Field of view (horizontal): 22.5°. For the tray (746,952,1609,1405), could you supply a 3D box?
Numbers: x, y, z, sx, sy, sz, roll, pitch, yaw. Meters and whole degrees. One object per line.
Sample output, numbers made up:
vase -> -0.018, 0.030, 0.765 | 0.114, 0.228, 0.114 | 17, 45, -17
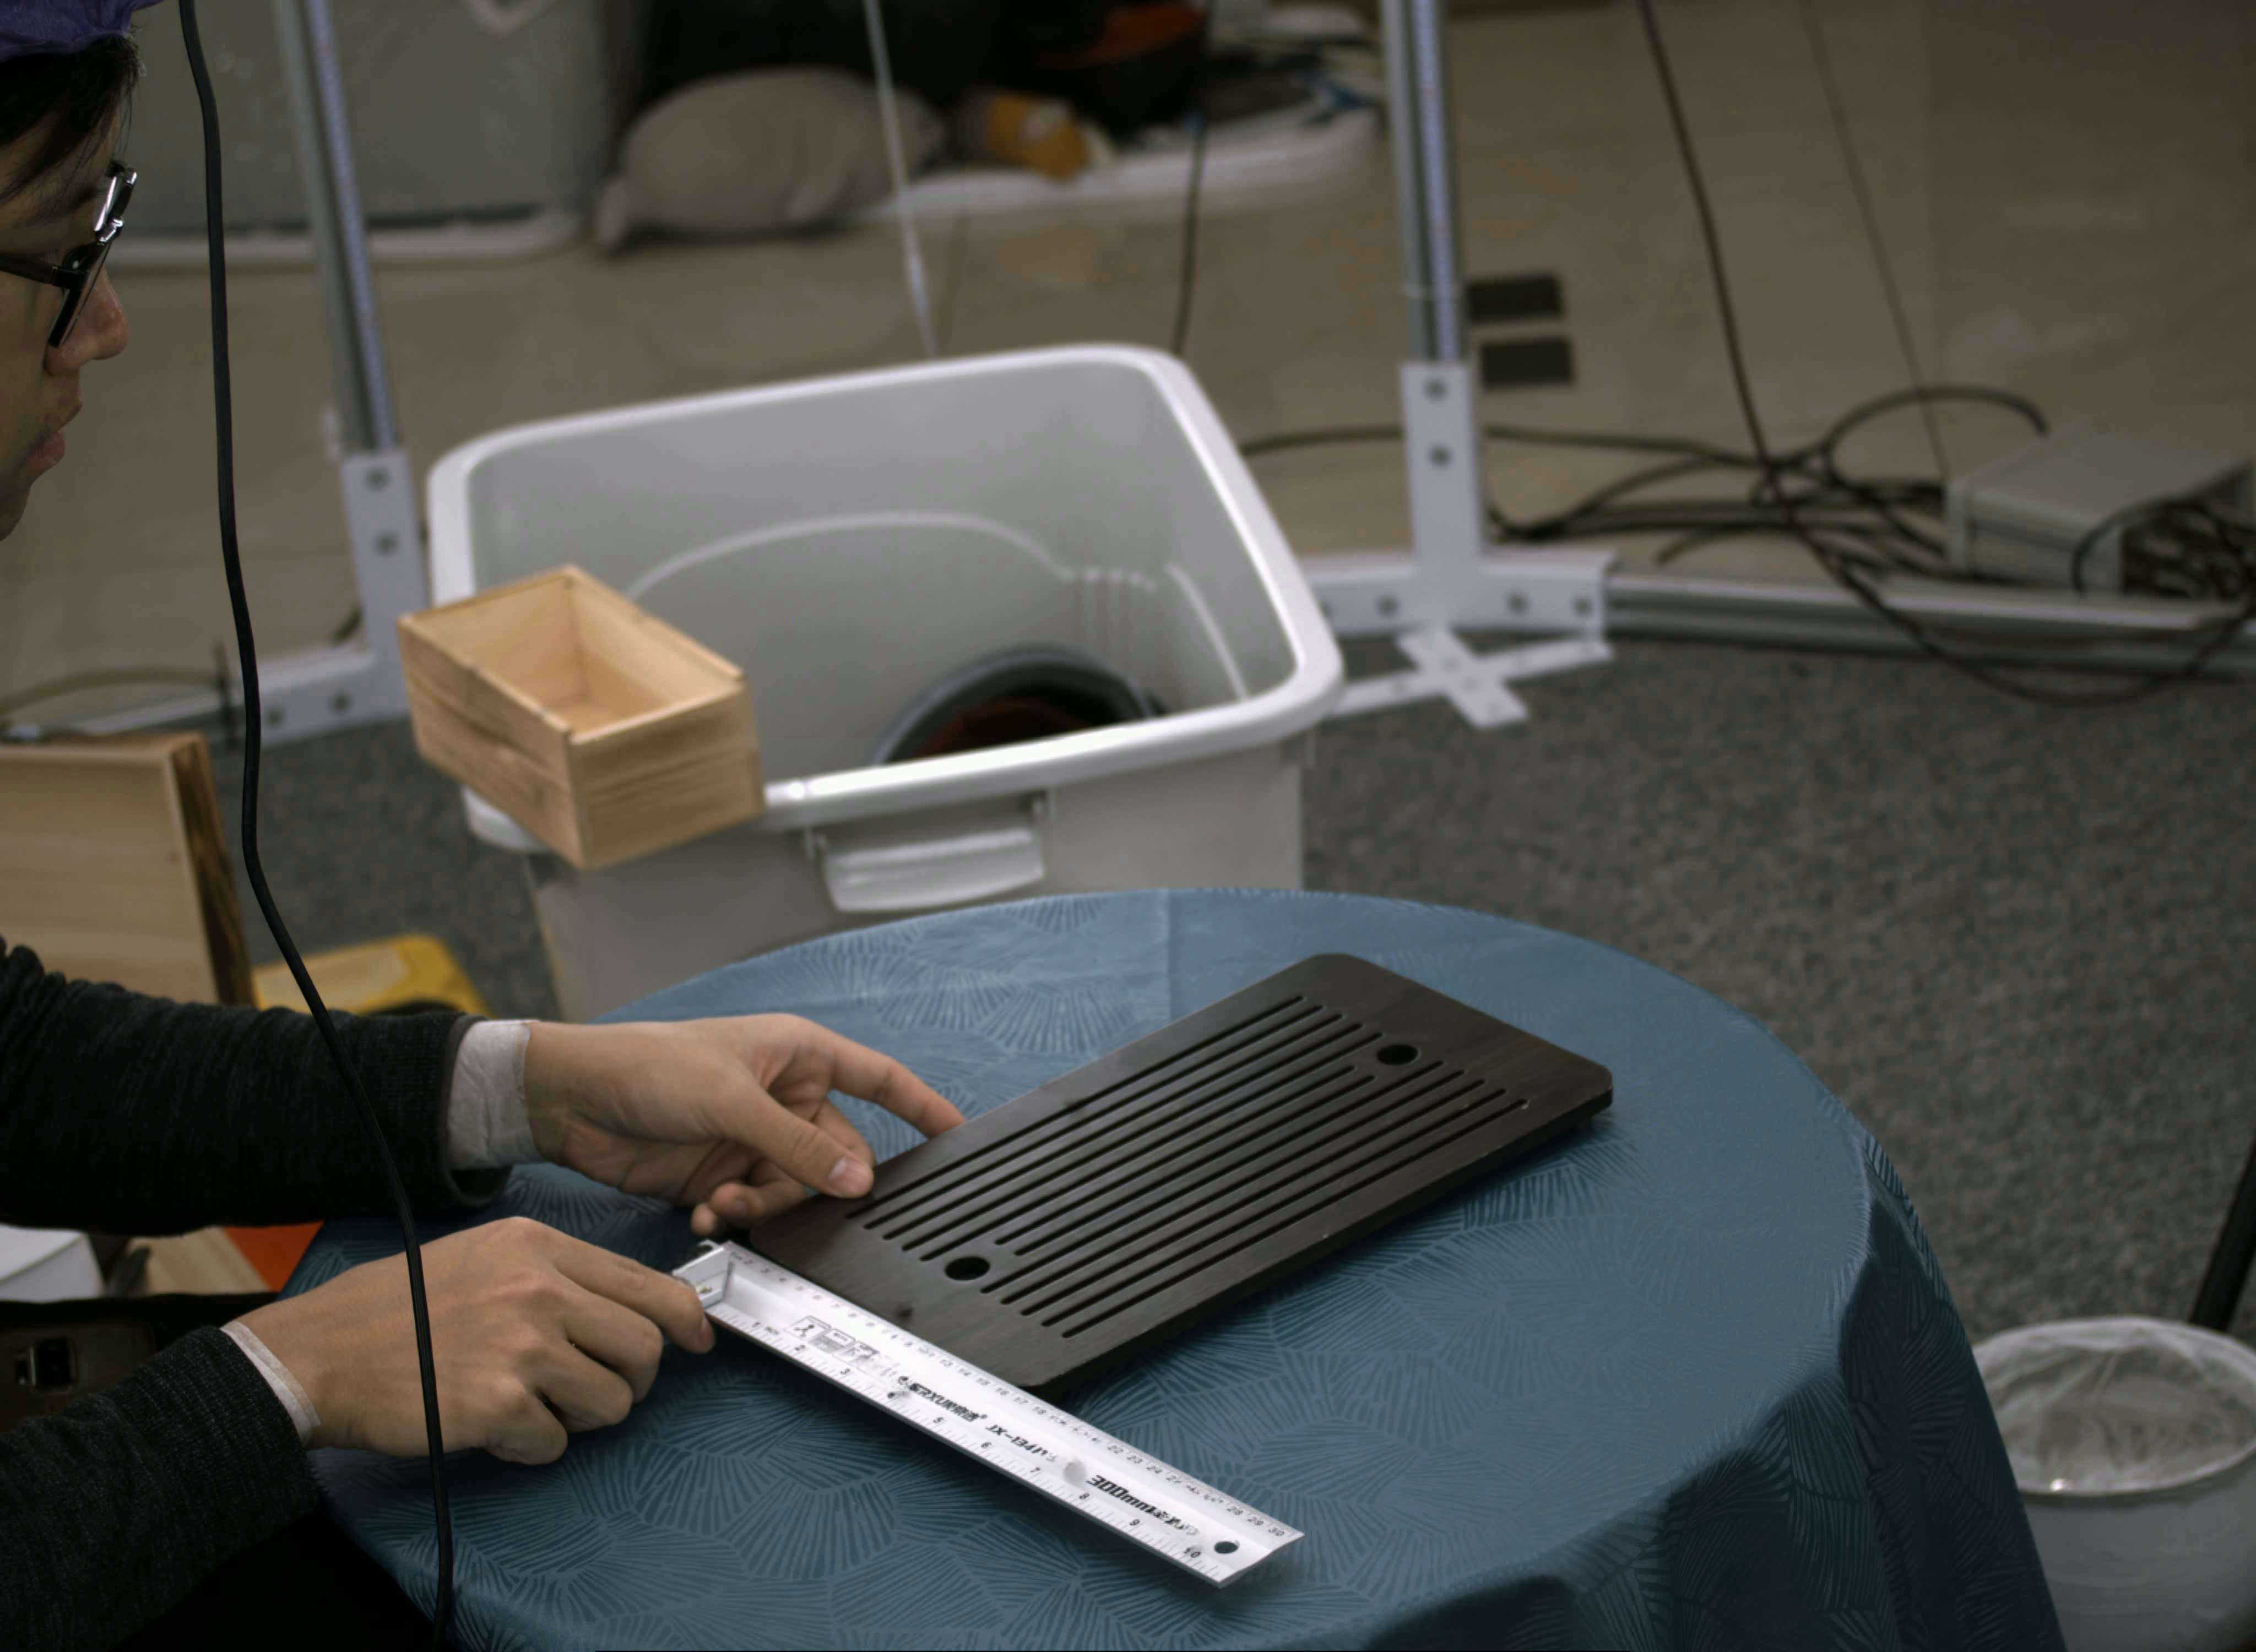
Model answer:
tray -> 0.021, 0.130, 2.135 | 0.303, 0.019, 0.168 | -24, 32, -33

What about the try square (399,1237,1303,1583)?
try square -> -0.101, 0.219, 1.957 | 0.151, 0.016, 0.310 | -26, 32, -35
